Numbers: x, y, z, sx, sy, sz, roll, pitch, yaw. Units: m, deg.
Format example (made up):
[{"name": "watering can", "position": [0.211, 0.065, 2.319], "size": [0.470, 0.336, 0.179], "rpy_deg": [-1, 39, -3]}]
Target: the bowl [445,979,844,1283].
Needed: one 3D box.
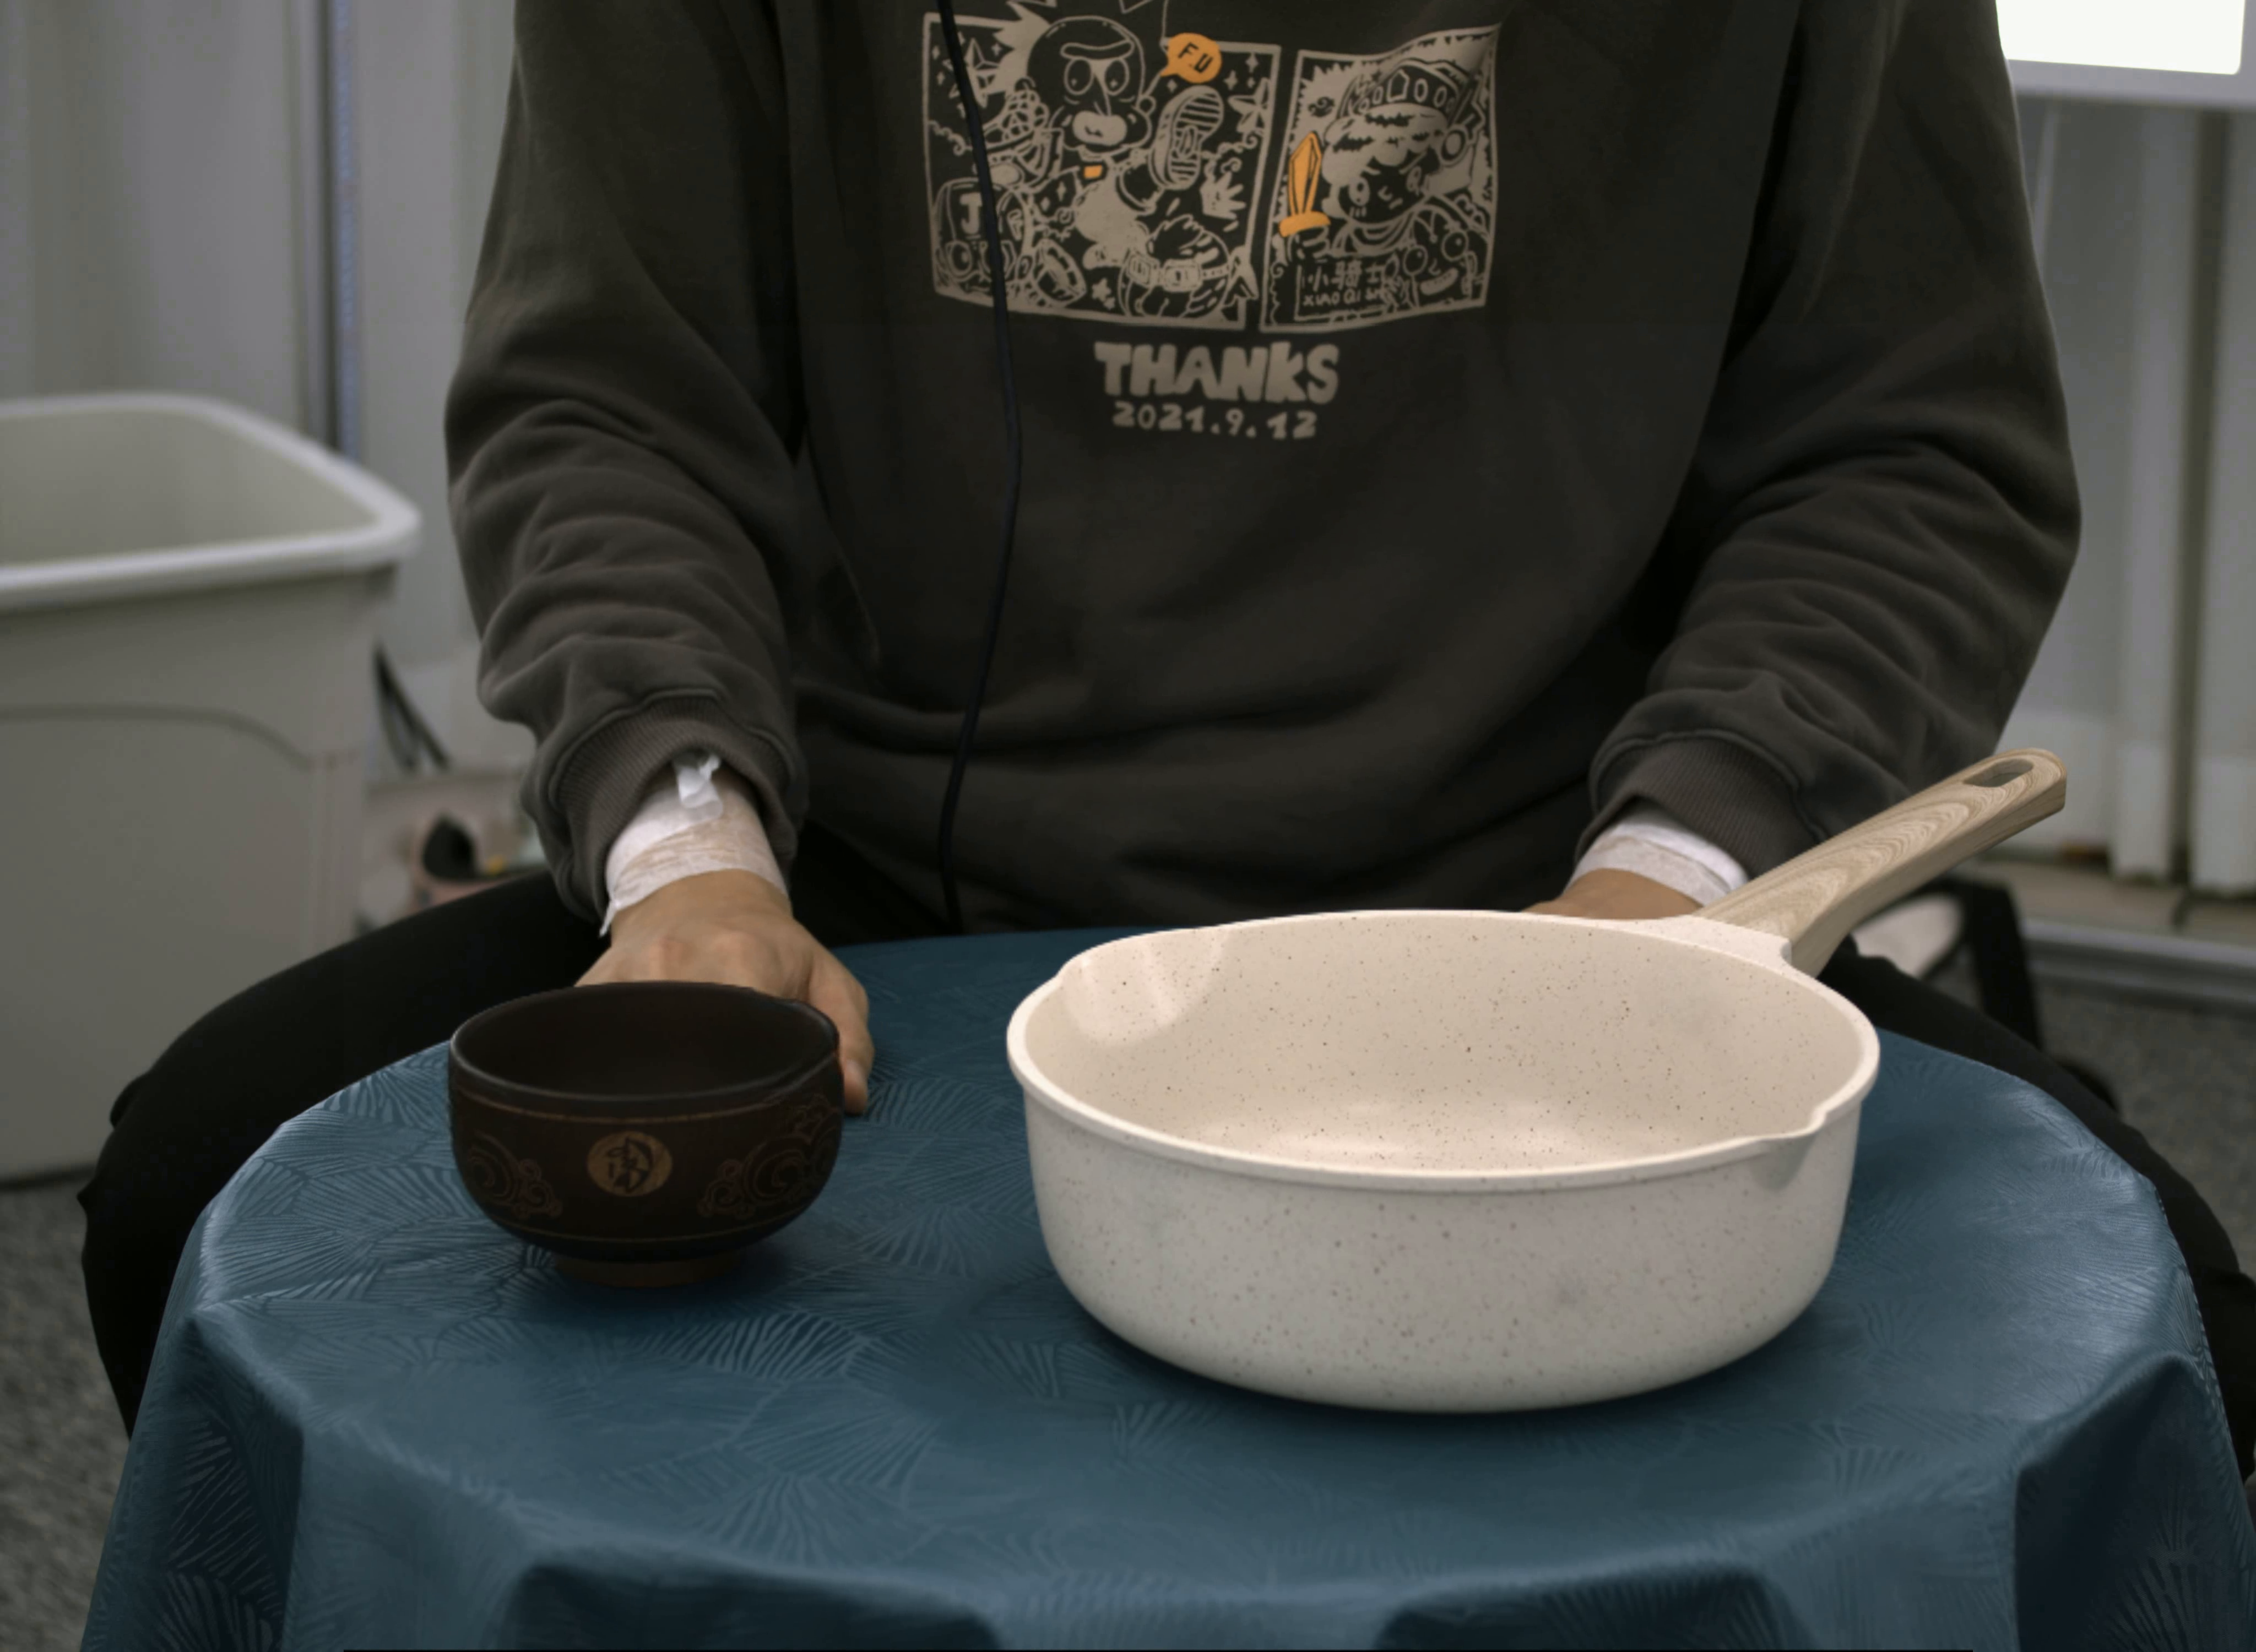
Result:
[{"name": "bowl", "position": [-0.143, 0.094, 1.559], "size": [0.117, 0.070, 0.117], "rpy_deg": [0, 14, 1]}]

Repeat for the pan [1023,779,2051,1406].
[{"name": "pan", "position": [0.156, 0.074, 1.592], "size": [0.260, 0.103, 0.437], "rpy_deg": [11, 18, 40]}]
